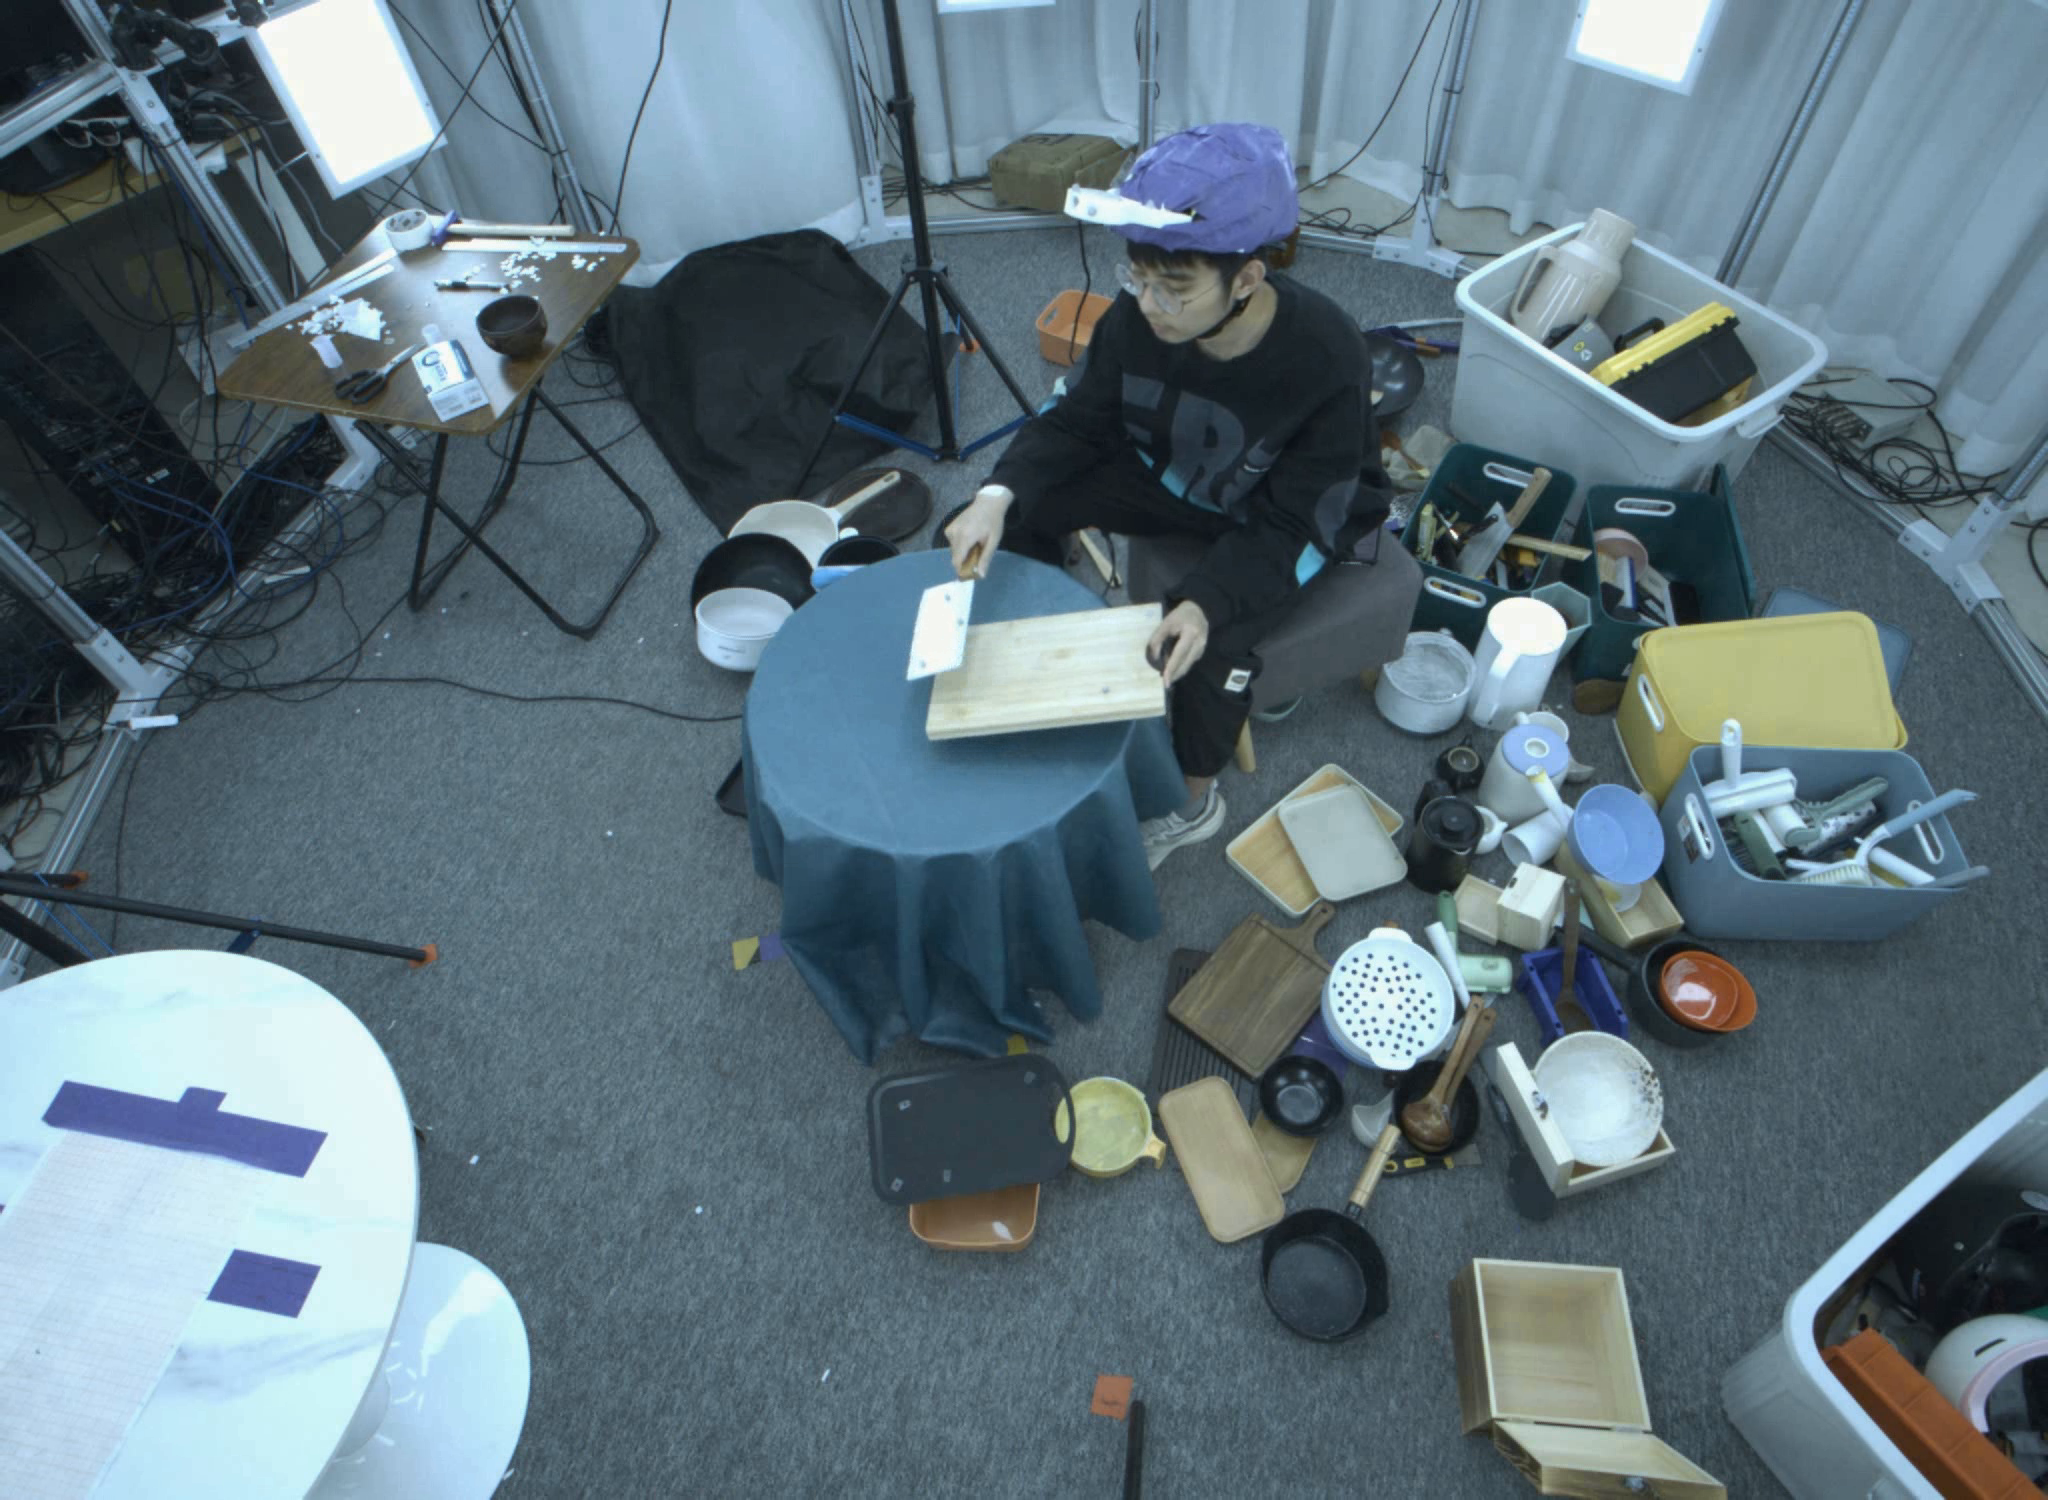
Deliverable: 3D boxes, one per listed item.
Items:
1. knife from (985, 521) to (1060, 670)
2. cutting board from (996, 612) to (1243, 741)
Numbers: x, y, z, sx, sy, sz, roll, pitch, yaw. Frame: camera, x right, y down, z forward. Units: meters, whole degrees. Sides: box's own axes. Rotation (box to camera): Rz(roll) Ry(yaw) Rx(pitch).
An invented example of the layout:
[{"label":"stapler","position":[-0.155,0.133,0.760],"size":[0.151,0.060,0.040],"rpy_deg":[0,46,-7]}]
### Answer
[{"label":"knife","position":[-0.004,-0.233,1.829],"size":[0.091,0.021,0.304],"rpy_deg":[-10,46,25]},{"label":"cutting board","position":[0.144,-0.110,1.793],"size":[0.346,0.024,0.249],"rpy_deg":[-3,44,11]}]
